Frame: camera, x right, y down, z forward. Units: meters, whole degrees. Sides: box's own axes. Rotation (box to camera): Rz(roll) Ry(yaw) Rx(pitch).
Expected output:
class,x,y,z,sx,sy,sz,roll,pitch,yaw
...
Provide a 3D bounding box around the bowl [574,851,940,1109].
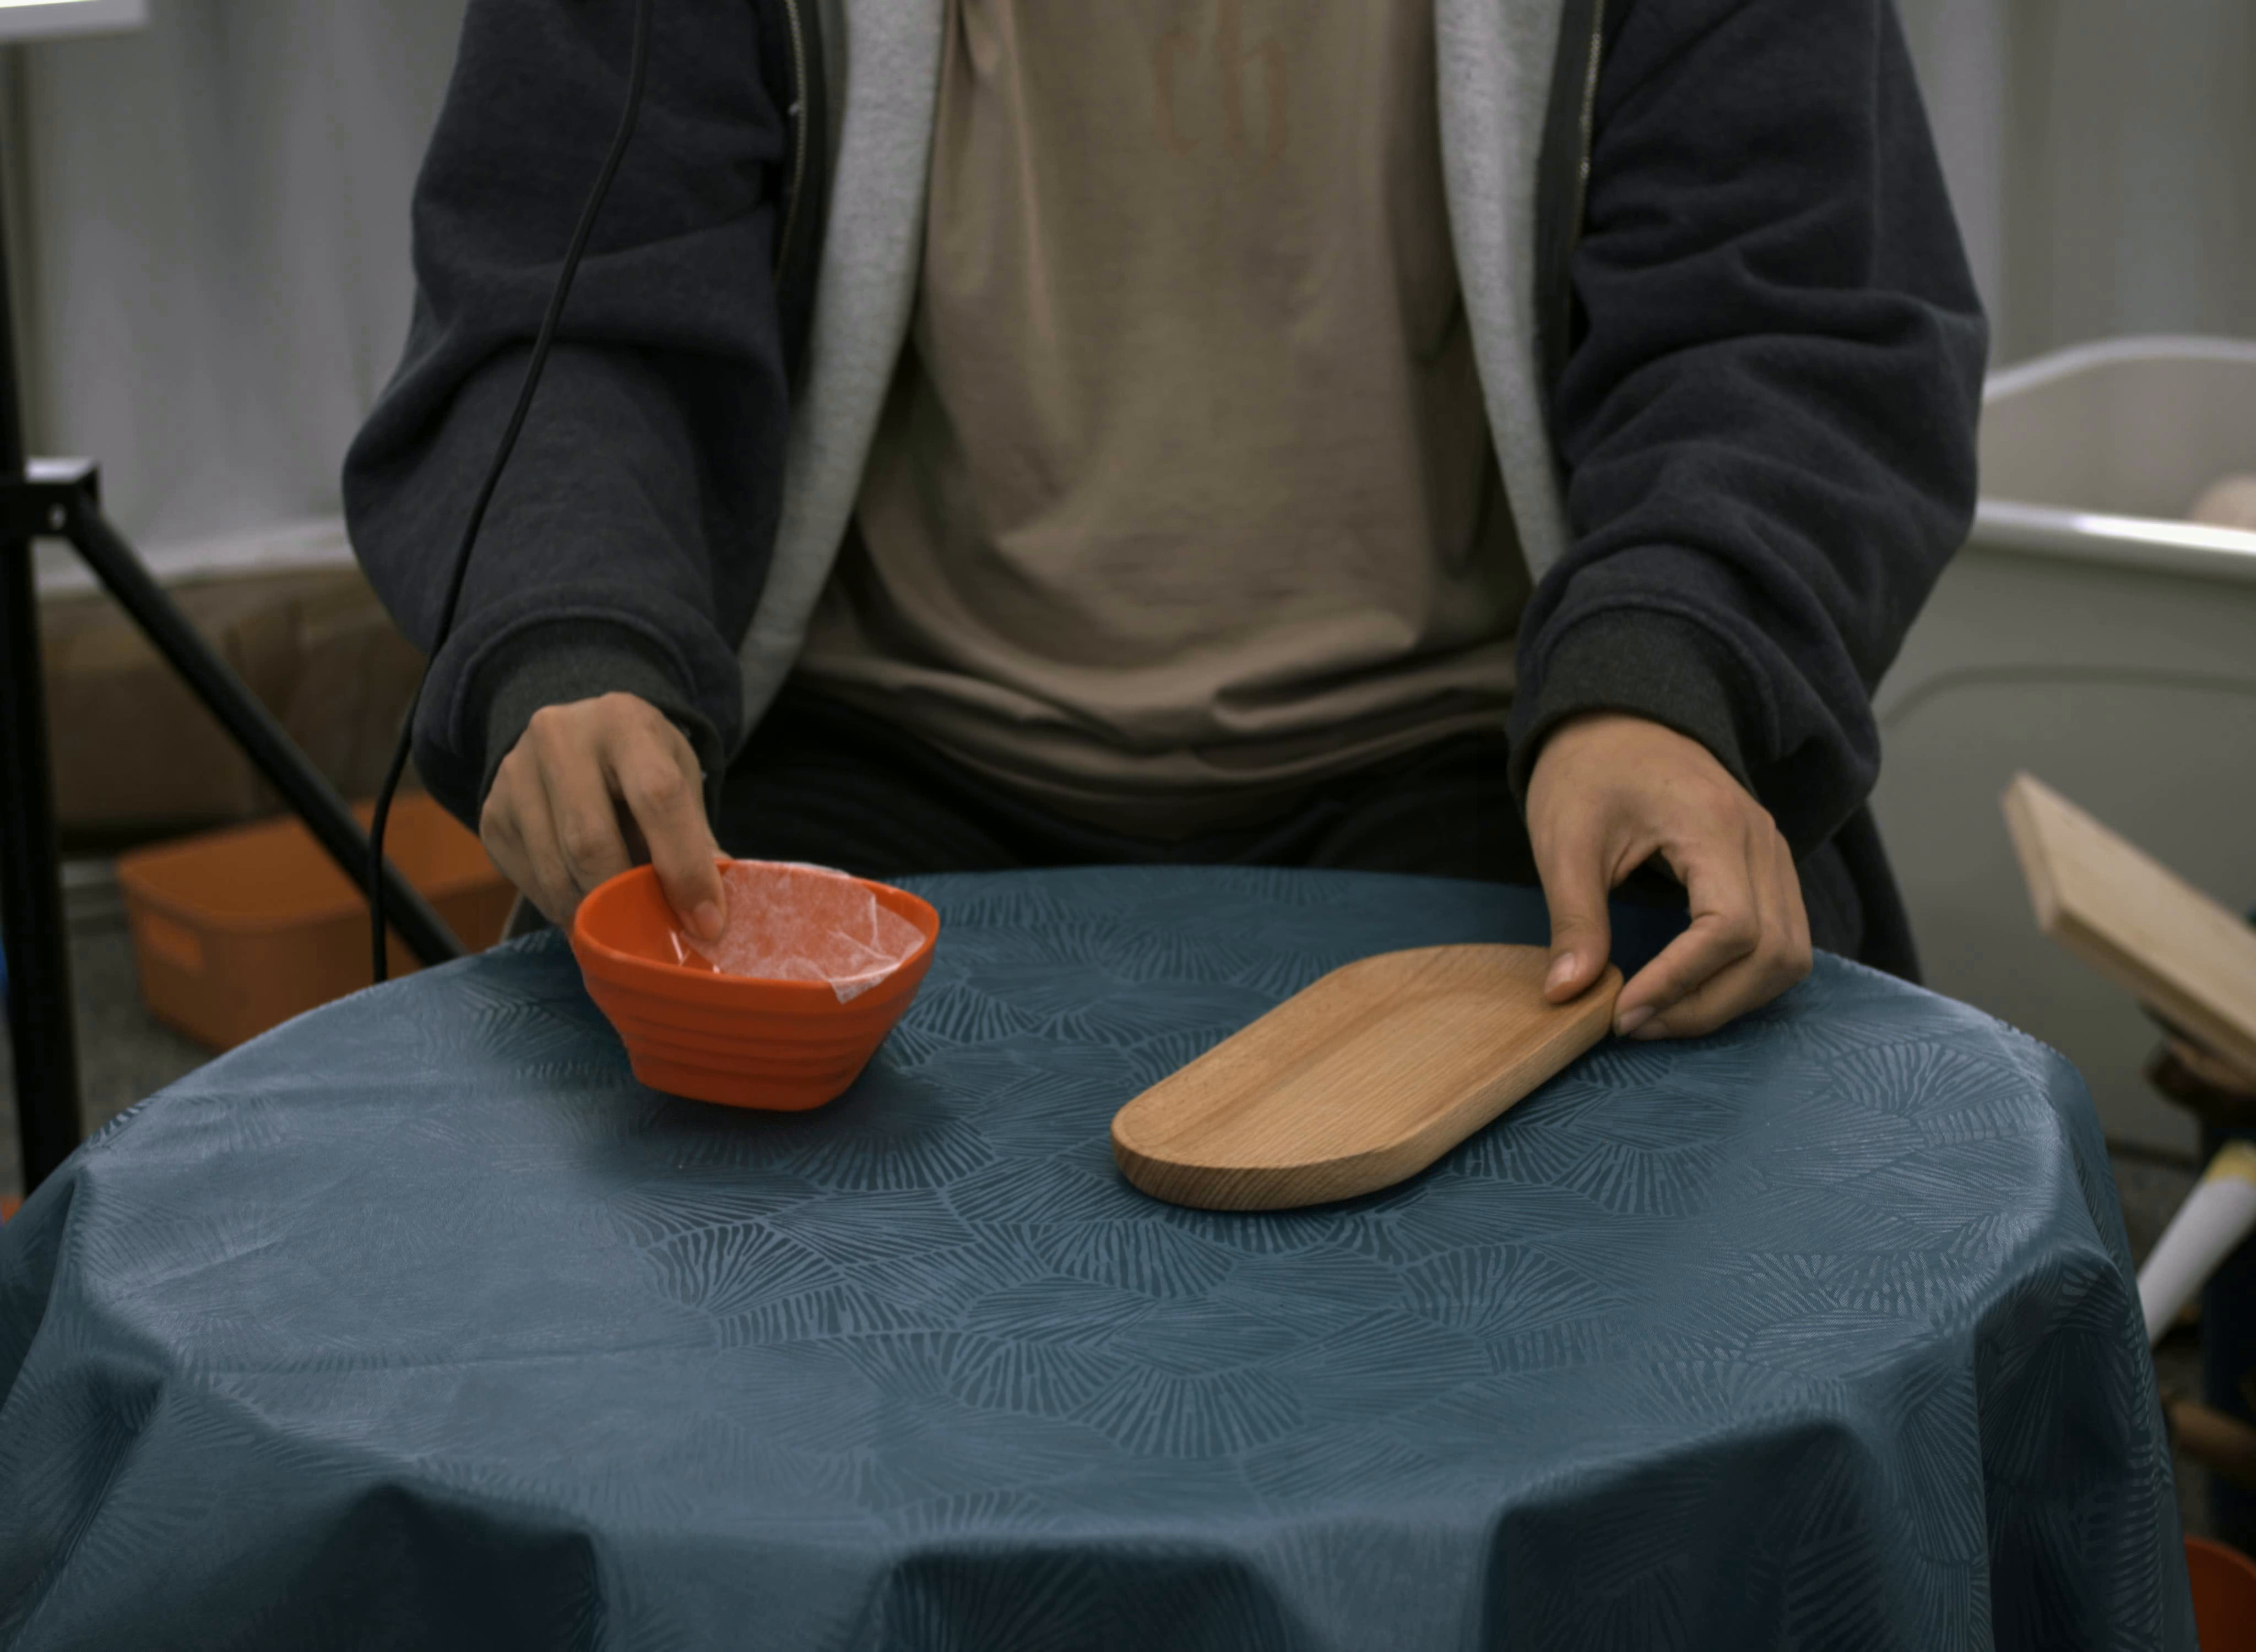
class,x,y,z,sx,sy,sz,roll,pitch,yaw
bowl,-0.115,0.051,1.653,0.118,0.051,0.119,2,19,-2

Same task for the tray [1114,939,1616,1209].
class,x,y,z,sx,sy,sz,roll,pitch,yaw
tray,0.076,0.075,1.632,0.103,0.020,0.227,4,16,27
